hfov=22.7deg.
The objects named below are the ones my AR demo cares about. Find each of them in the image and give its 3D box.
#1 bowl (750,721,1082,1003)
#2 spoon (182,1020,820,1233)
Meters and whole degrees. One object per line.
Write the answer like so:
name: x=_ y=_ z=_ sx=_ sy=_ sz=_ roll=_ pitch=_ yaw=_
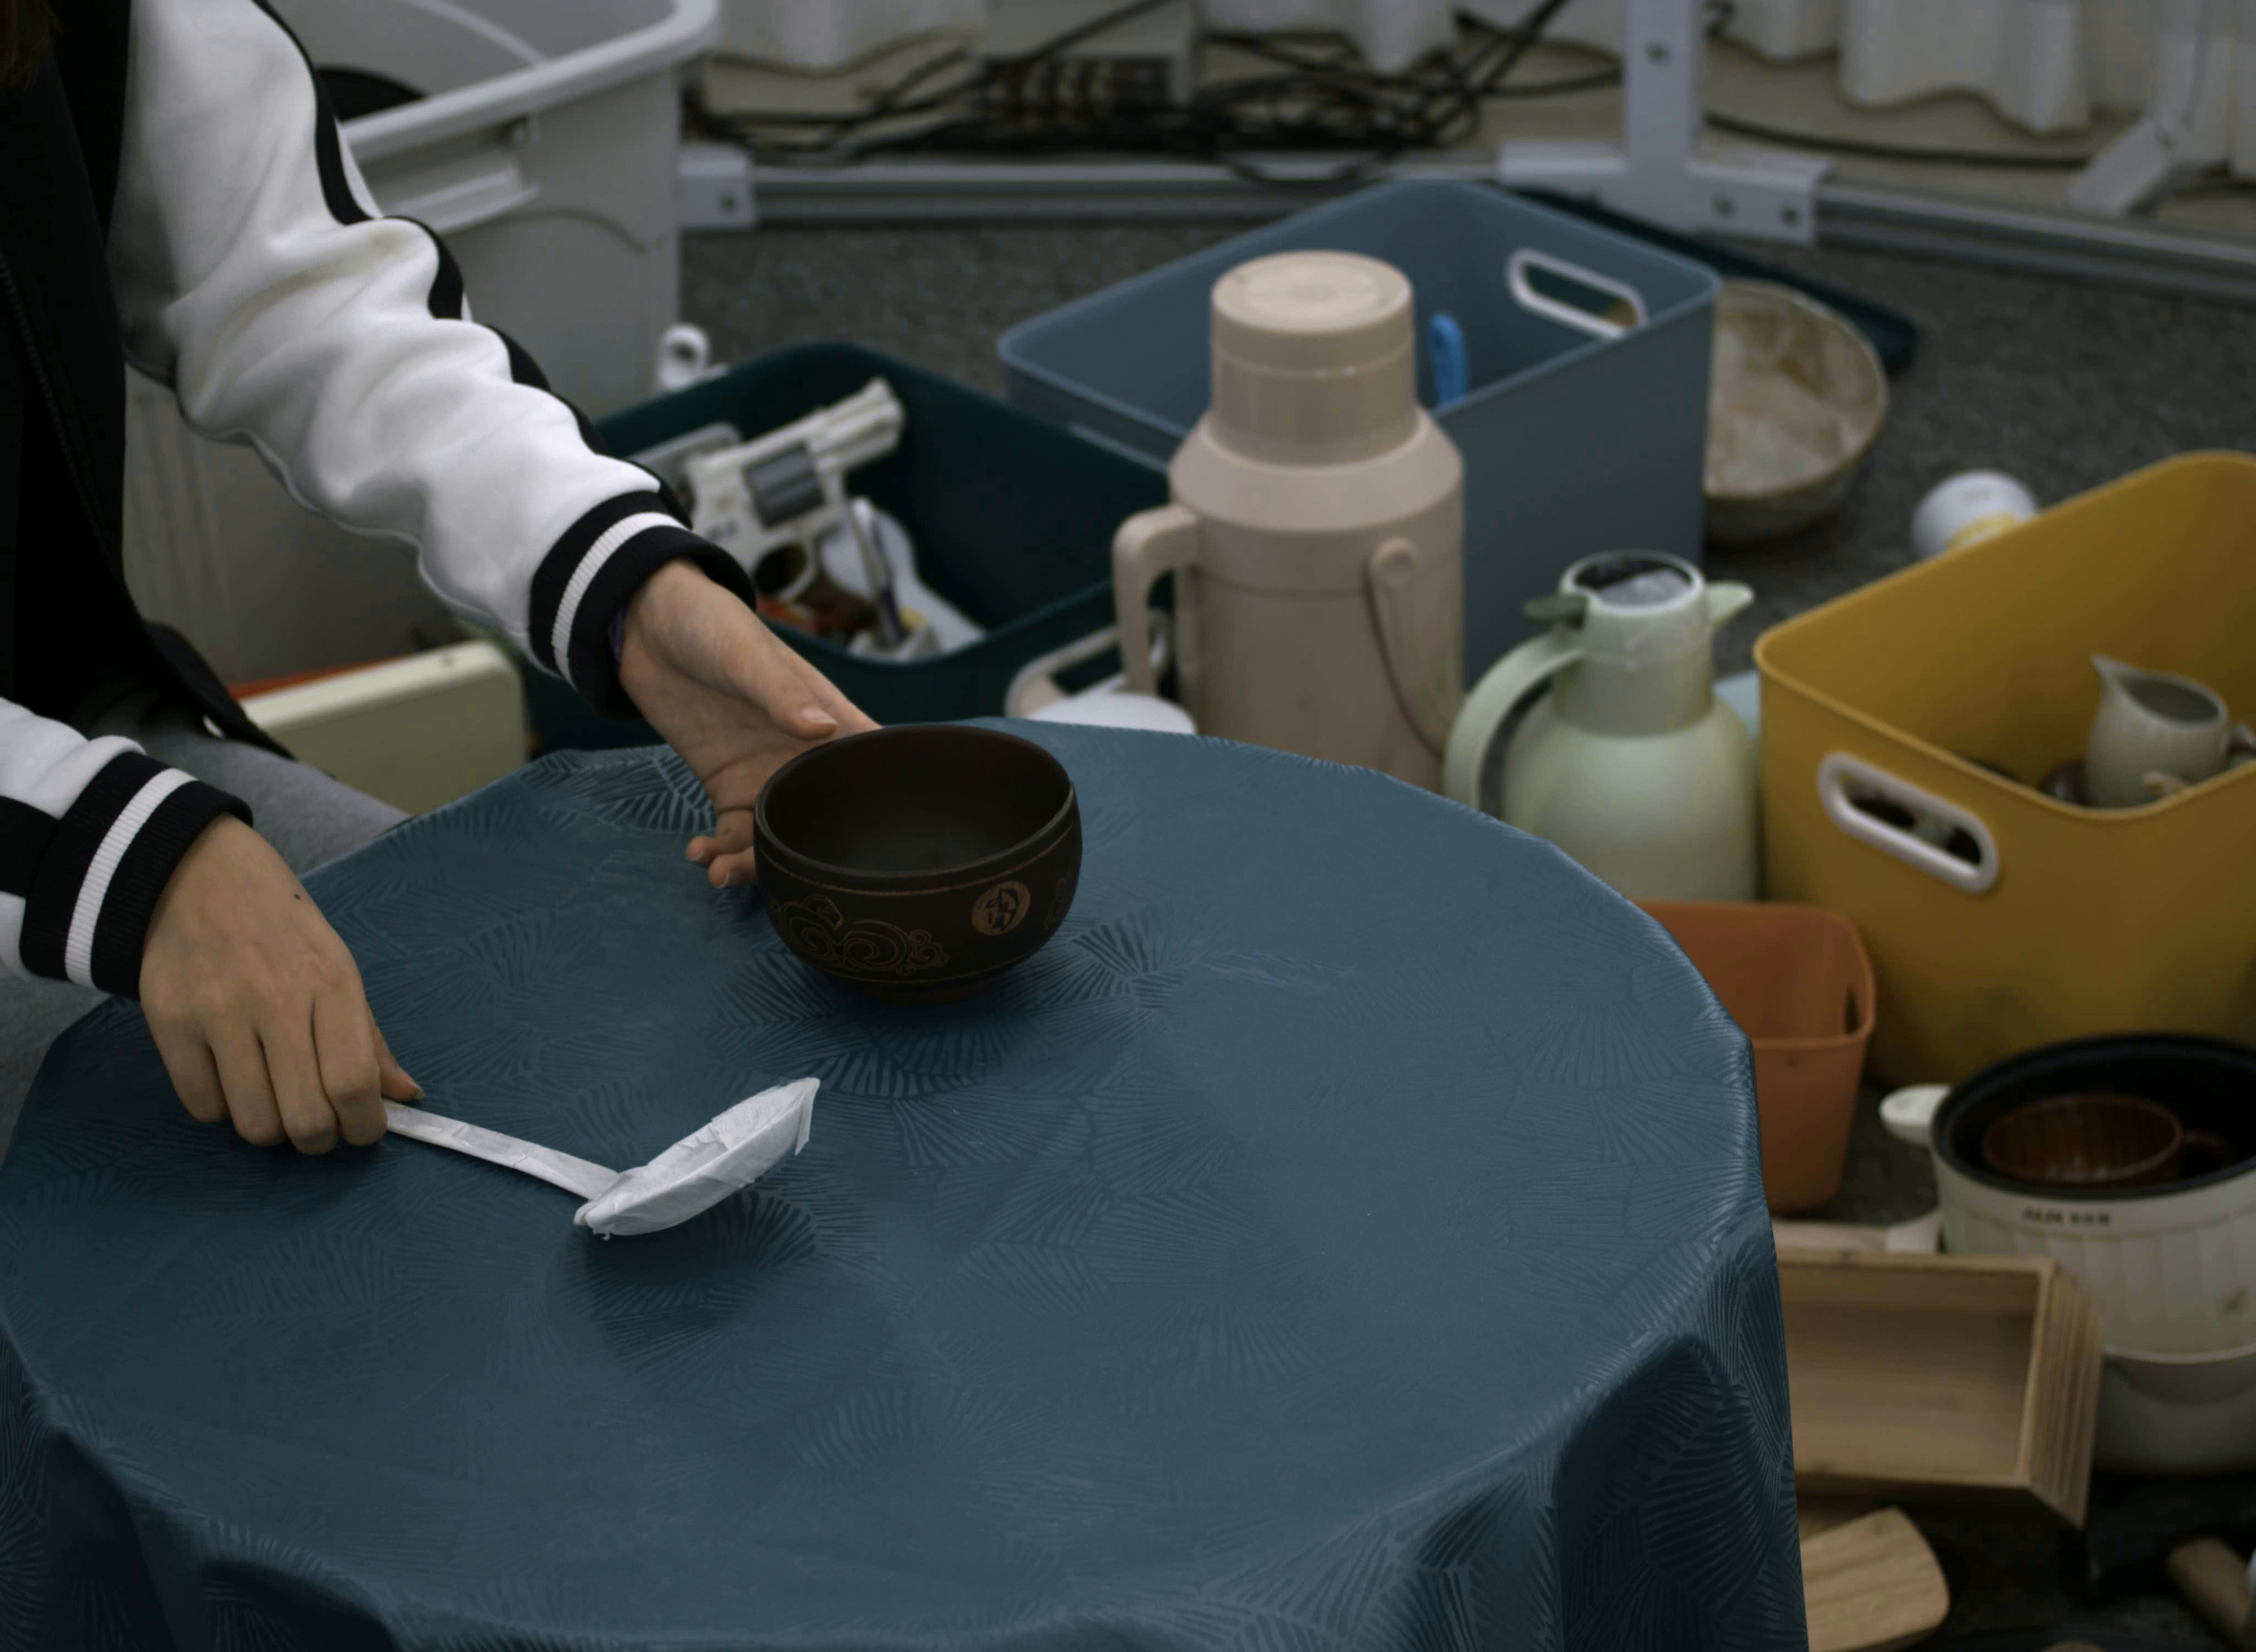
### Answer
bowl: x=-0.074 y=0.019 z=1.989 sx=0.117 sy=0.069 sz=0.120 roll=-2 pitch=26 yaw=2
spoon: x=-0.219 y=0.082 z=1.898 sx=0.276 sy=0.059 sz=0.102 roll=17 pitch=31 yaw=33
